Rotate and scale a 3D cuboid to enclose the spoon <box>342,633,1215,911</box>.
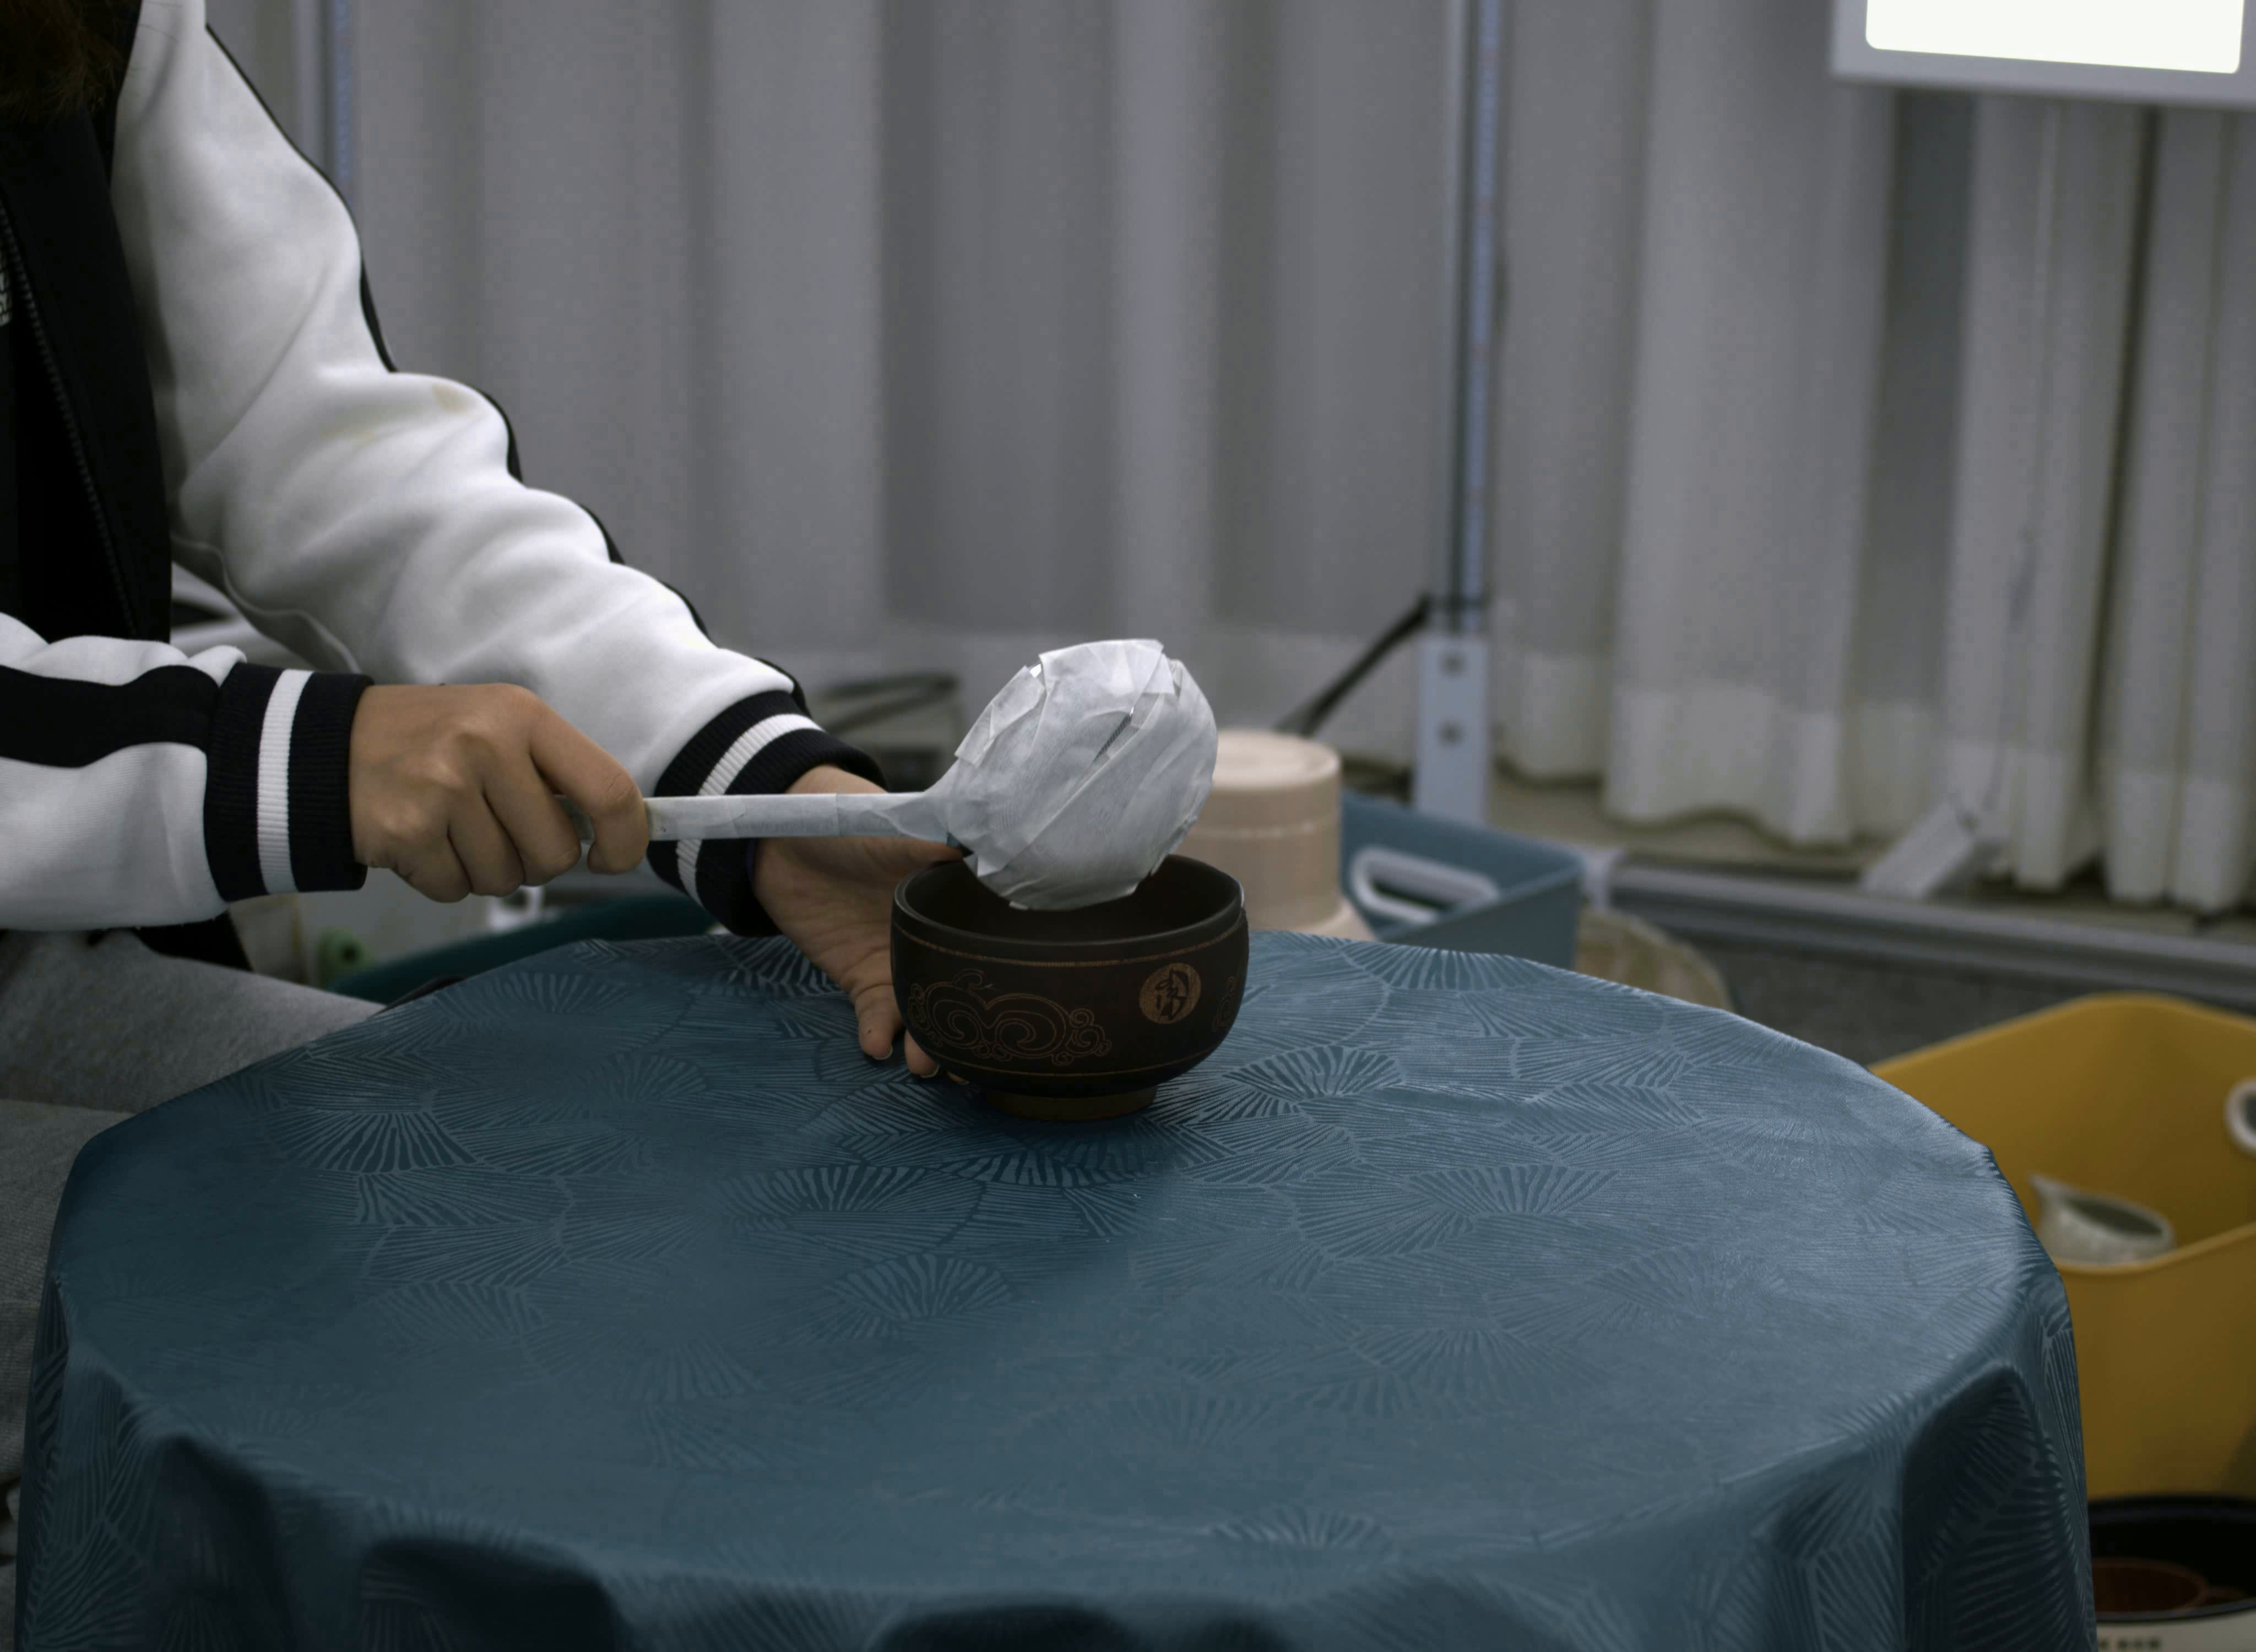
[{"bbox_3d":[-0.111,-0.011,1.687,0.276,0.102,0.059,-2,27,8],"label":"spoon"}]

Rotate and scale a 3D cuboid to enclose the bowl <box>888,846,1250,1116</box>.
[{"bbox_3d":[-0.019,0.052,1.700,0.117,0.070,0.117,1,16,0],"label":"bowl"}]
